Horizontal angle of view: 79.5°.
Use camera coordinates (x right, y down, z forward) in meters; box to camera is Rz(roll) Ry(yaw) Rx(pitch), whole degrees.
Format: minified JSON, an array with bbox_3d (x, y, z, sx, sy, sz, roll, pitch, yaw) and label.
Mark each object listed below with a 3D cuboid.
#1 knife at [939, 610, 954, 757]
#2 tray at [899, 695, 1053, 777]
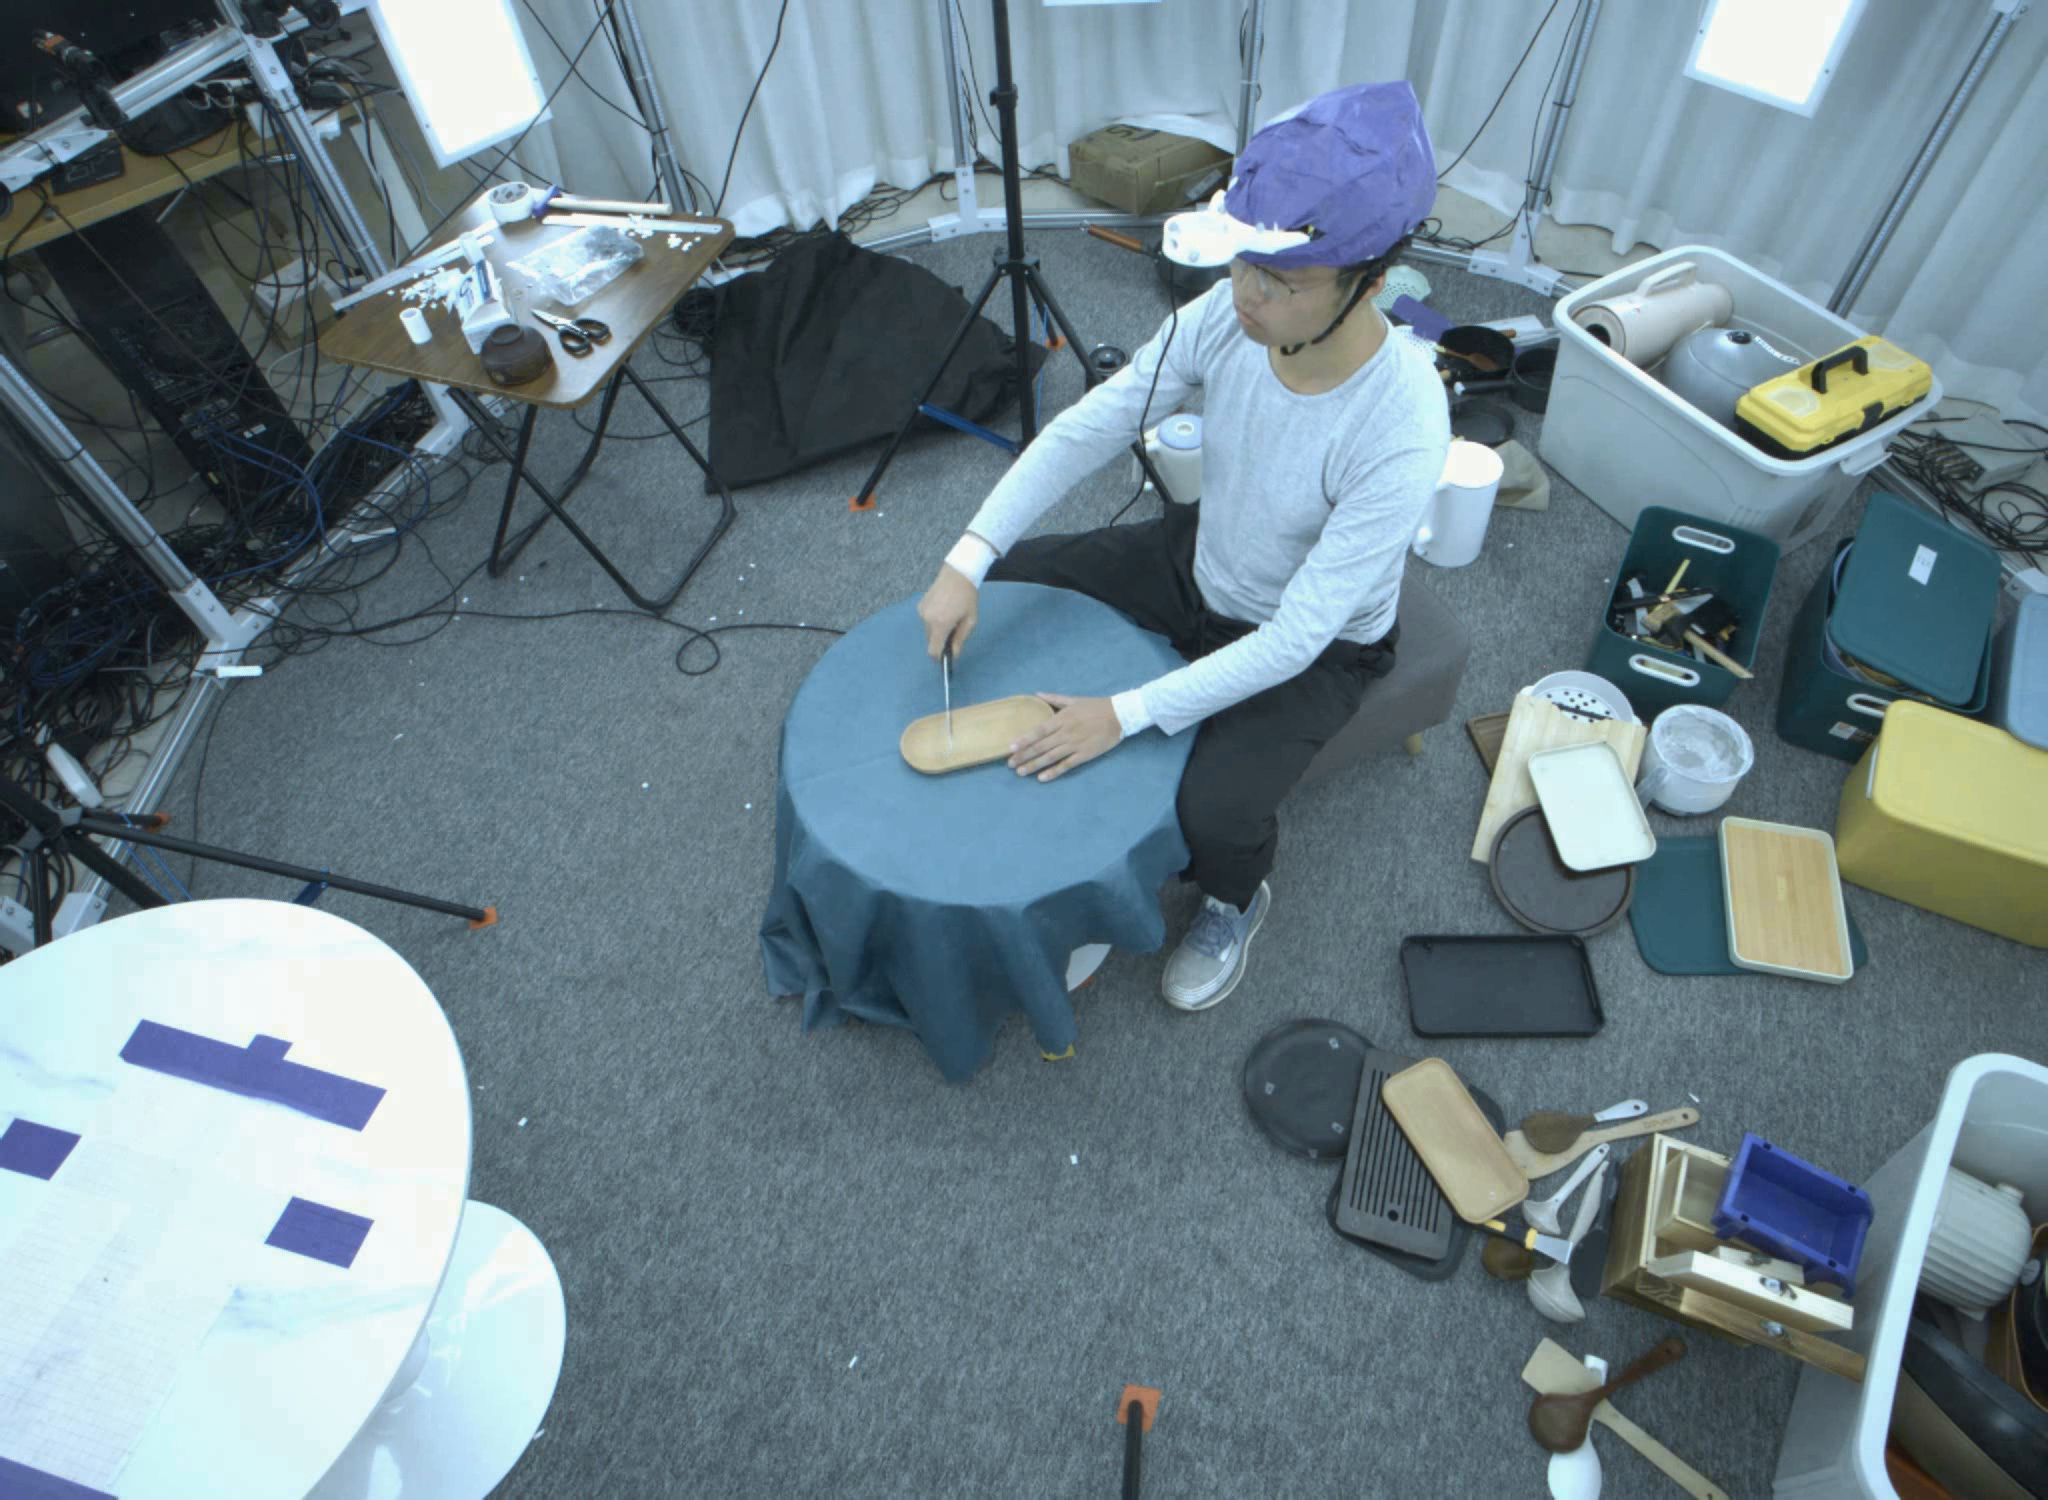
[{"bbox_3d":[-0.111,-0.101,1.785,0.016,0.025,0.236,-7,69,6],"label":"knife"},{"bbox_3d":[-0.070,-0.020,1.802,0.232,0.020,0.100,-16,54,-8],"label":"tray"}]
